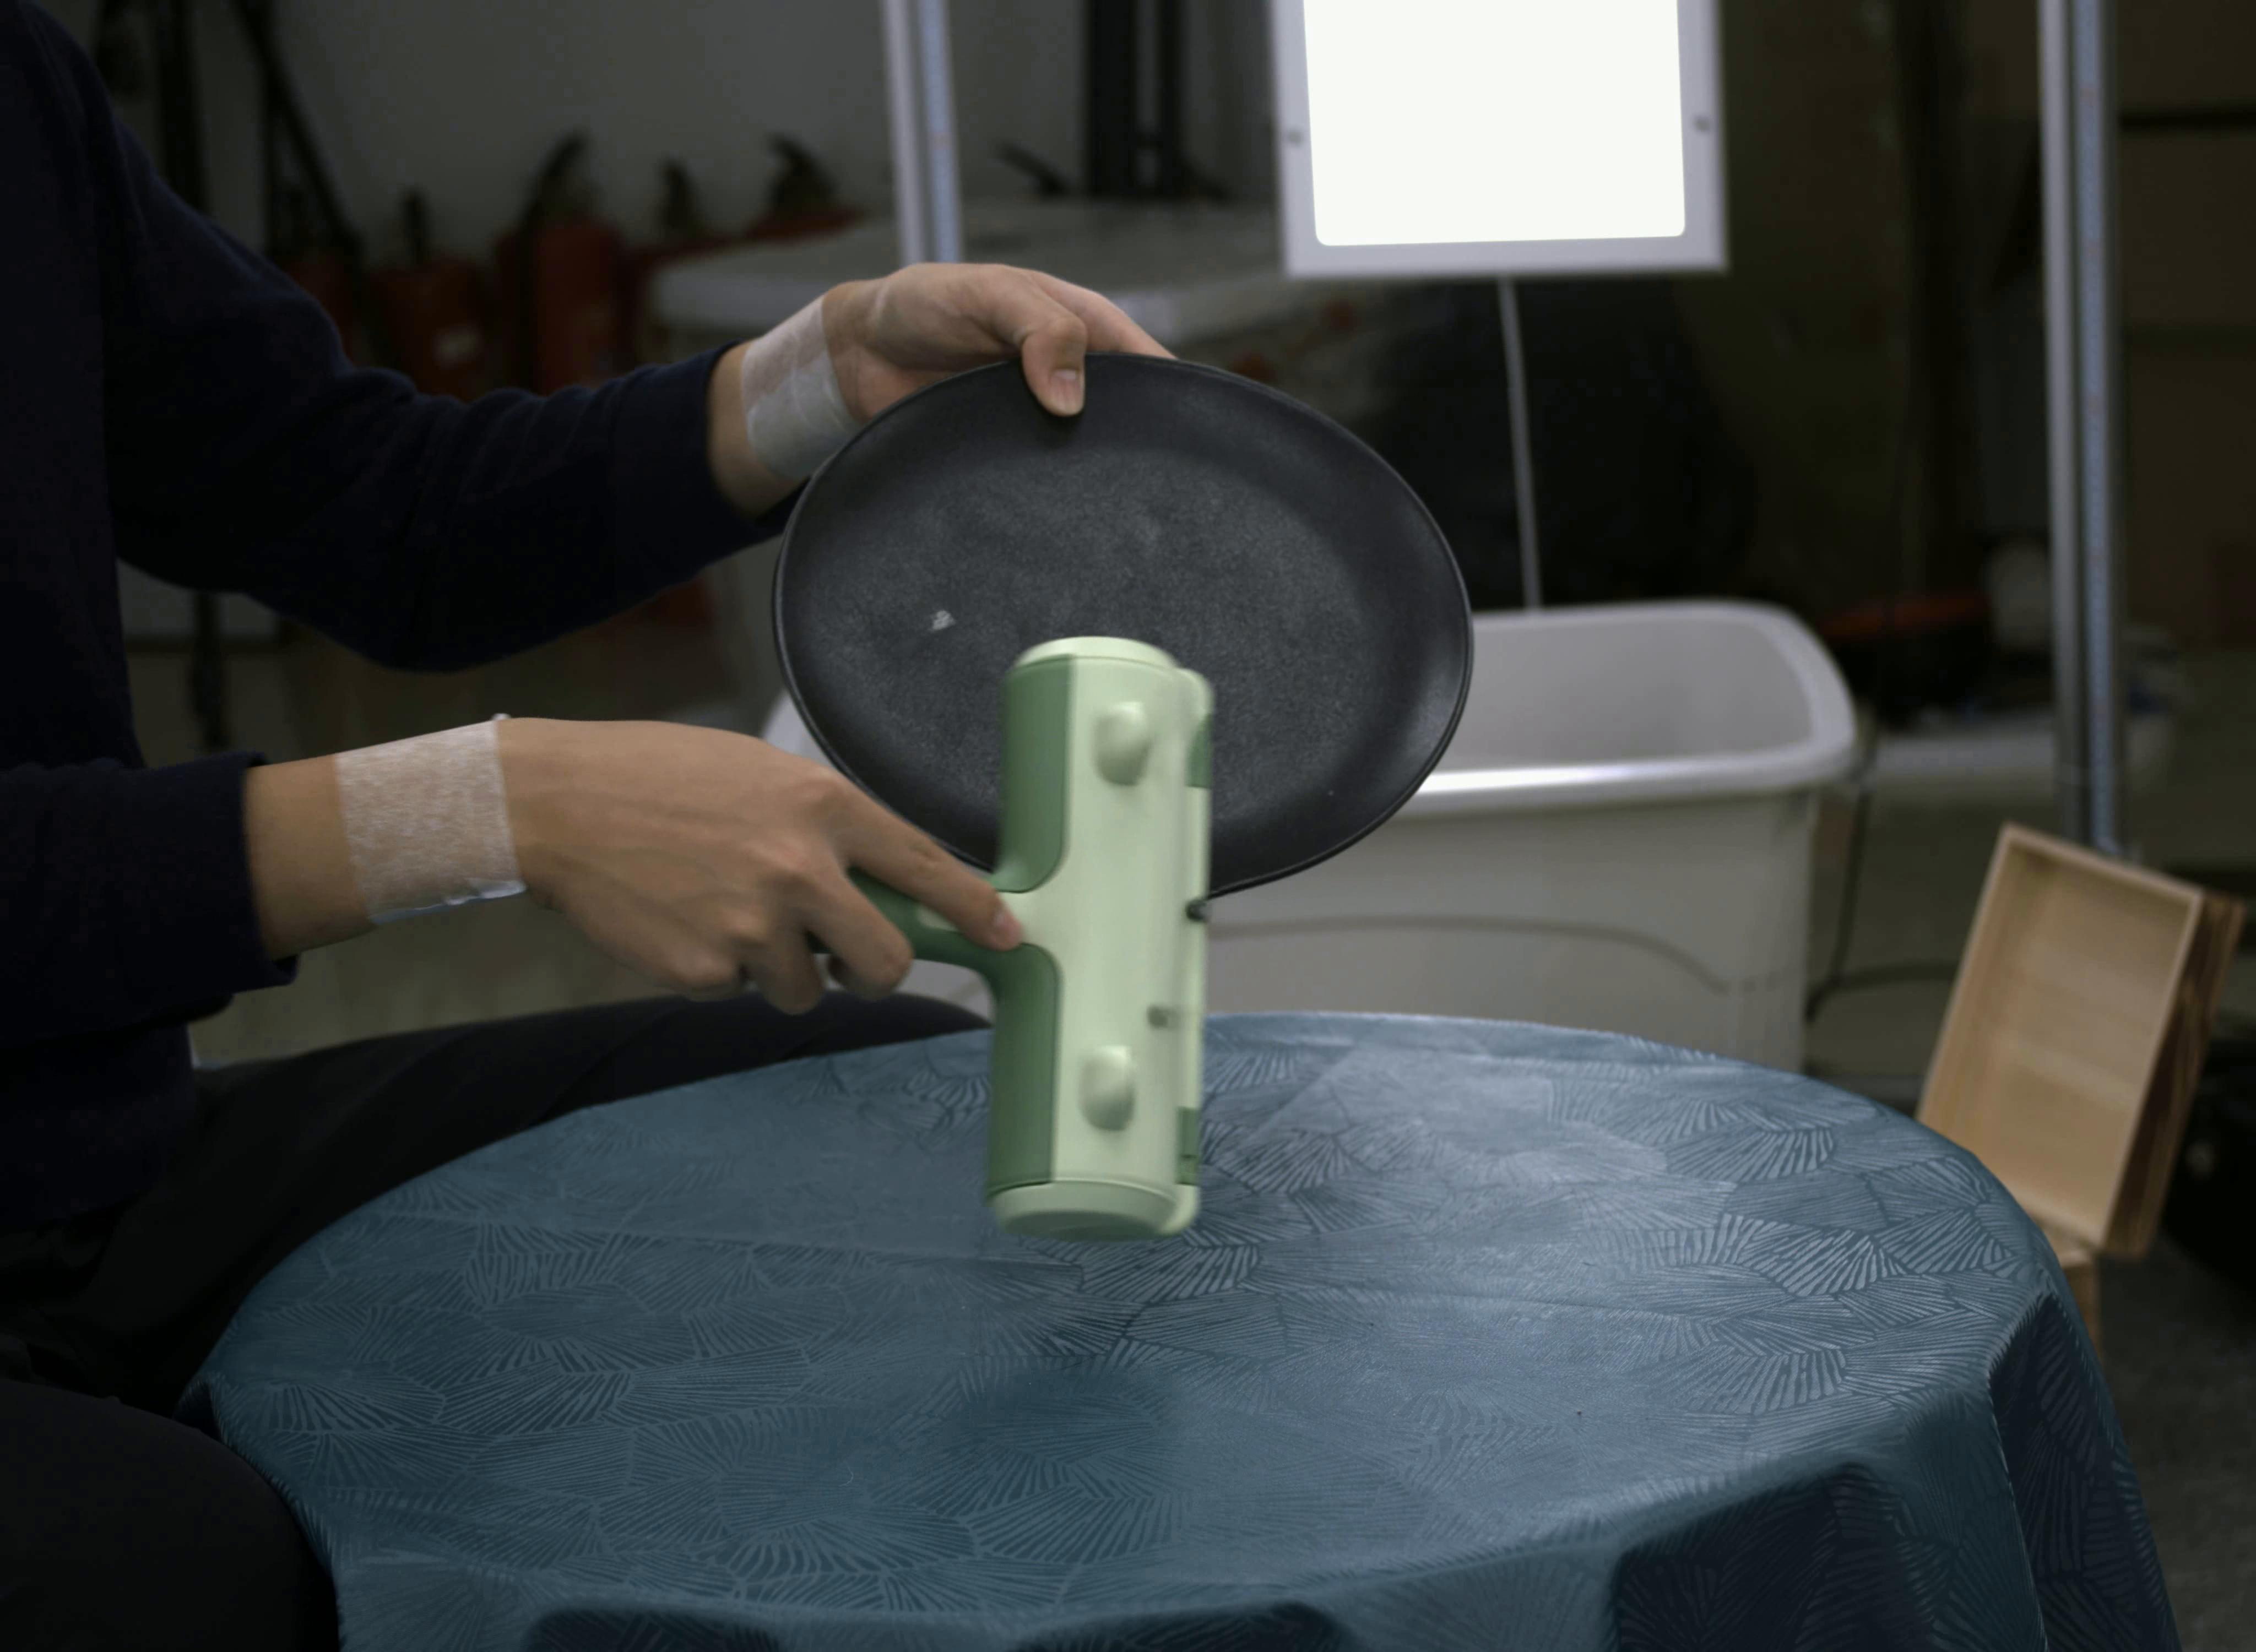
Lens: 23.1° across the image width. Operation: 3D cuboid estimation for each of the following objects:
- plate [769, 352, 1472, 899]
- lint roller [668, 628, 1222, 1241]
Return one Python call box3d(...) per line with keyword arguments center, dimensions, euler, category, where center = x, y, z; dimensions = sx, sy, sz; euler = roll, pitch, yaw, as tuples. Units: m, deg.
box3d(center=(-0.003, -0.067, 1.894), dimensions=(0.243, 0.023, 0.244), euler=(1, 53, -3), category="plate")
box3d(center=(-0.050, 0.023, 1.750), dimensions=(0.179, 0.198, 0.084), euler=(12, -21, -28), category="lint roller")
